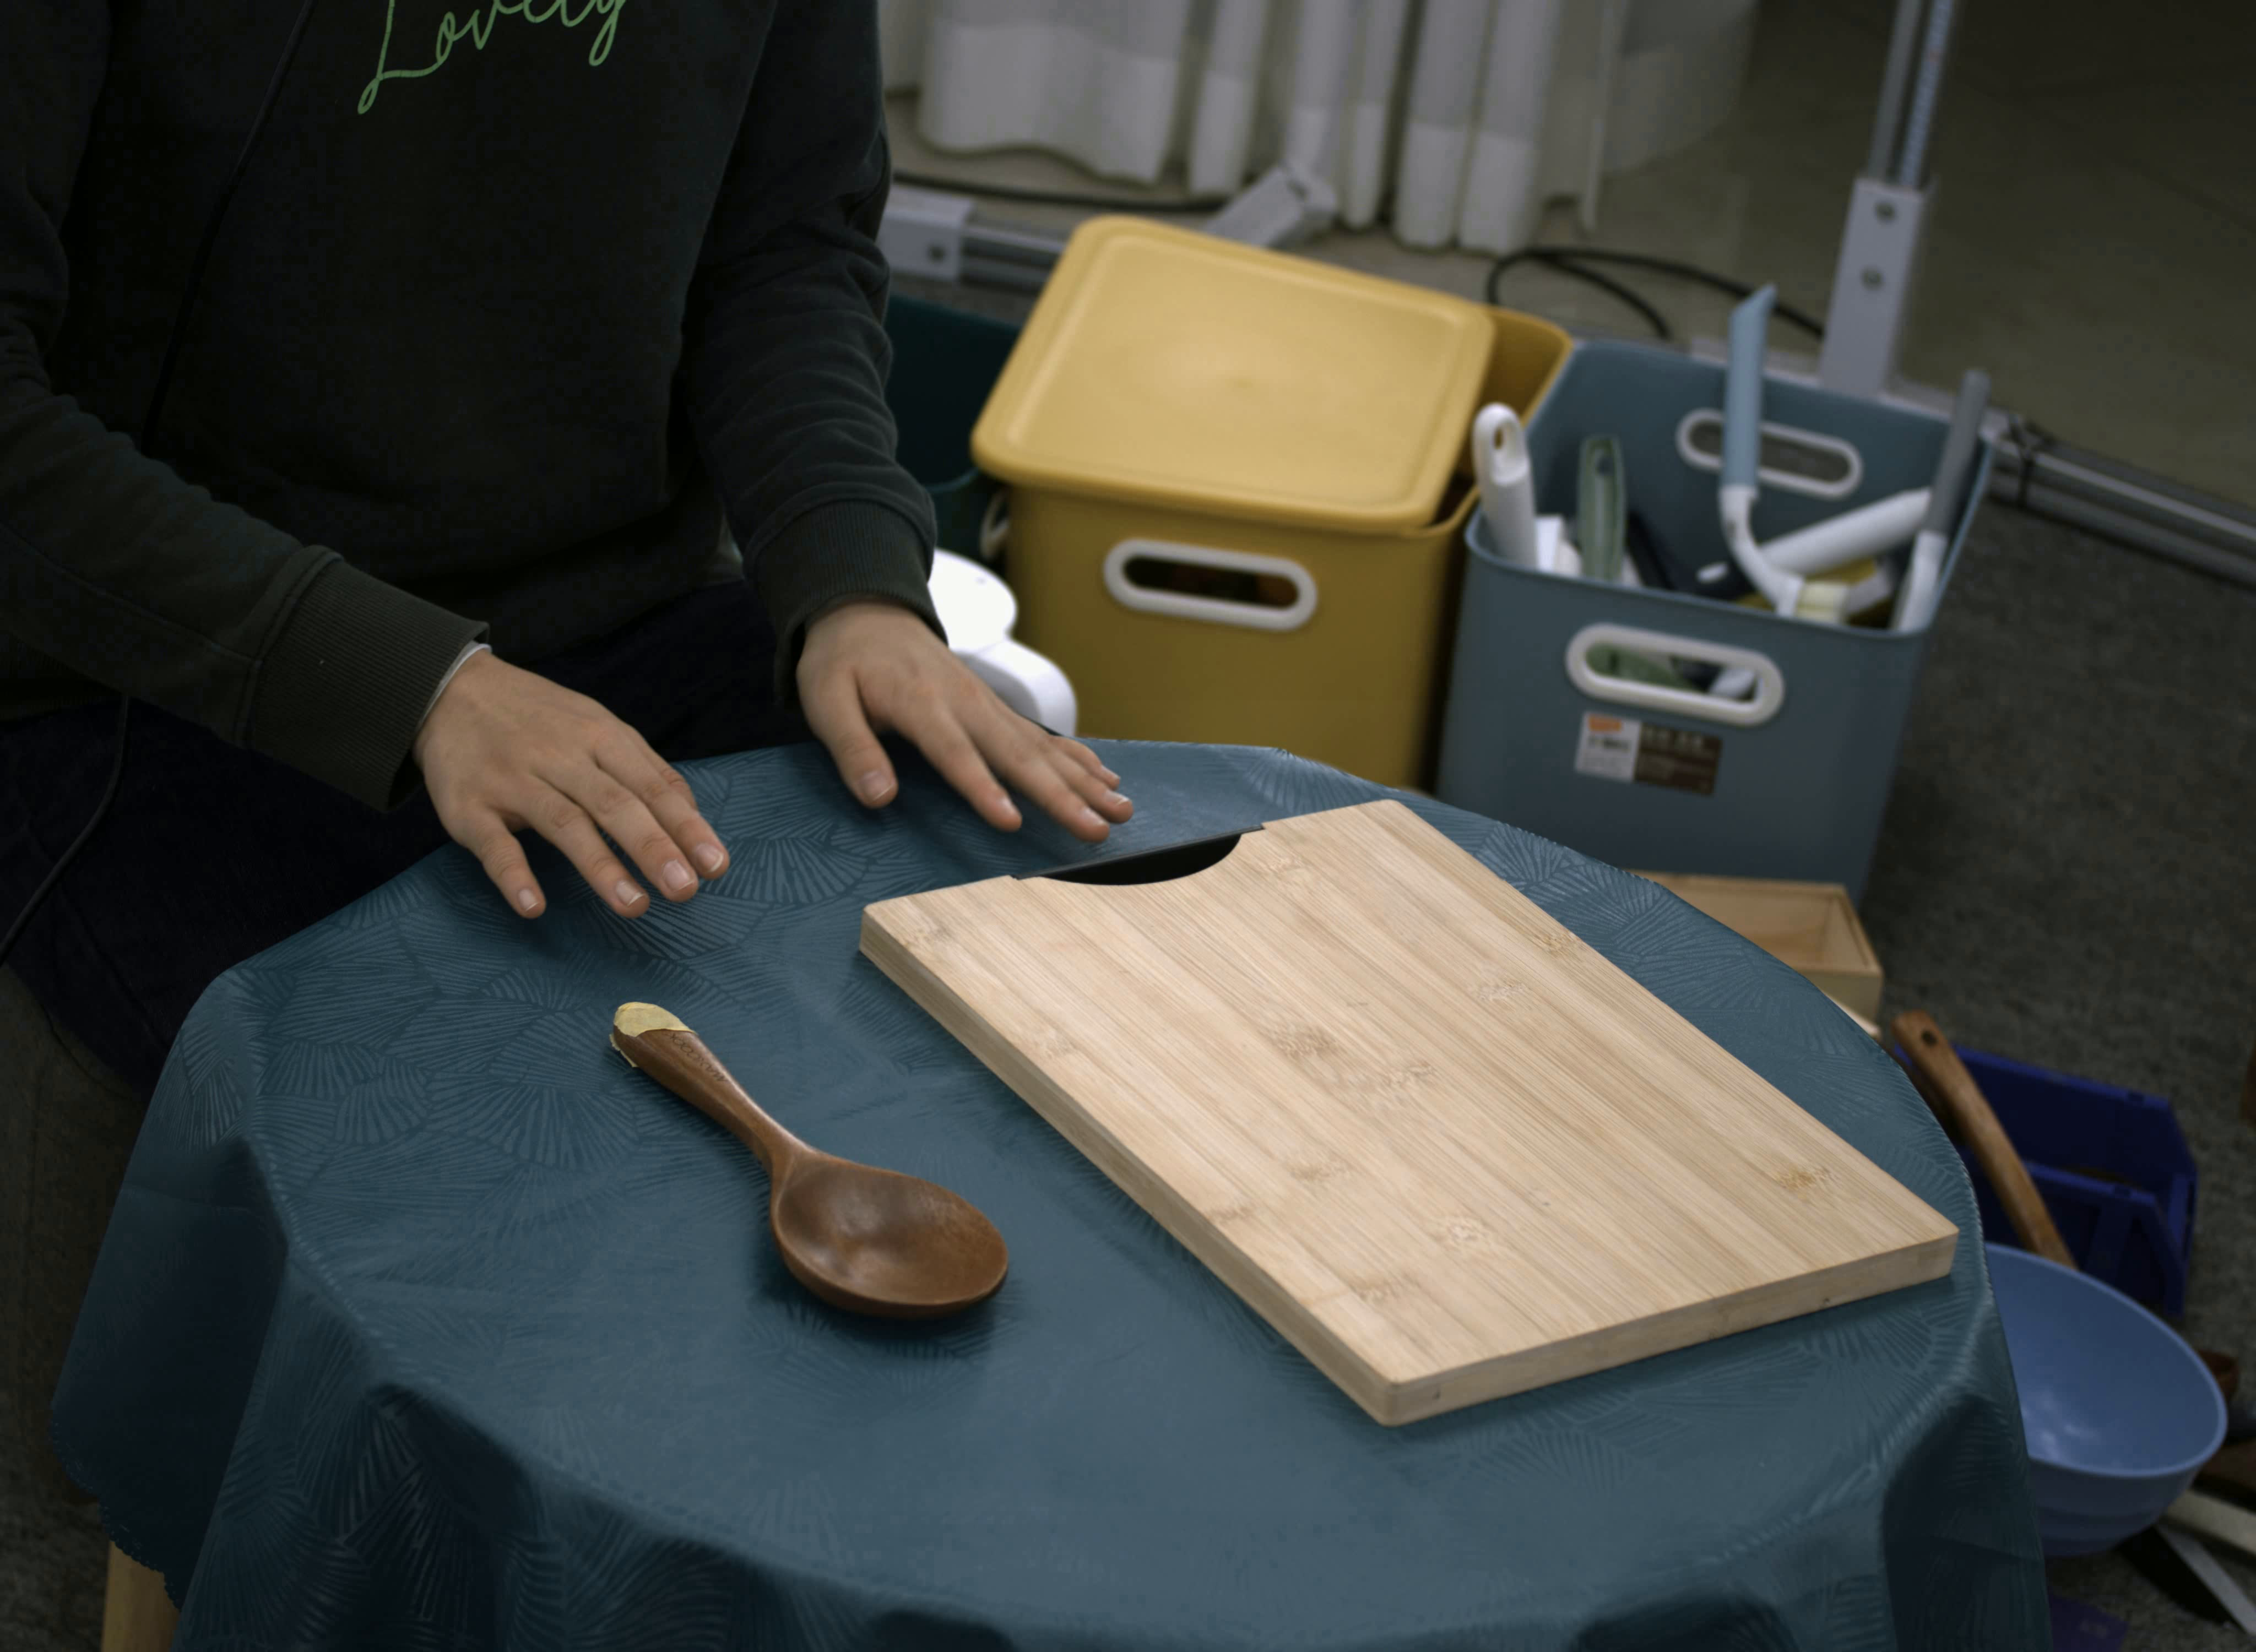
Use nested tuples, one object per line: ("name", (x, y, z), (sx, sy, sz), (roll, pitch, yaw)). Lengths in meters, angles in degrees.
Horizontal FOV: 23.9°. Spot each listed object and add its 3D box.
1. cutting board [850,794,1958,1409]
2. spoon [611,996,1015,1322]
("cutting board", (0.090, 0.089, 1.872), (0.249, 0.023, 0.352), (-11, 31, -32))
("spoon", (-0.113, 0.111, 1.779), (0.075, 0.017, 0.218), (-14, 33, -31))
